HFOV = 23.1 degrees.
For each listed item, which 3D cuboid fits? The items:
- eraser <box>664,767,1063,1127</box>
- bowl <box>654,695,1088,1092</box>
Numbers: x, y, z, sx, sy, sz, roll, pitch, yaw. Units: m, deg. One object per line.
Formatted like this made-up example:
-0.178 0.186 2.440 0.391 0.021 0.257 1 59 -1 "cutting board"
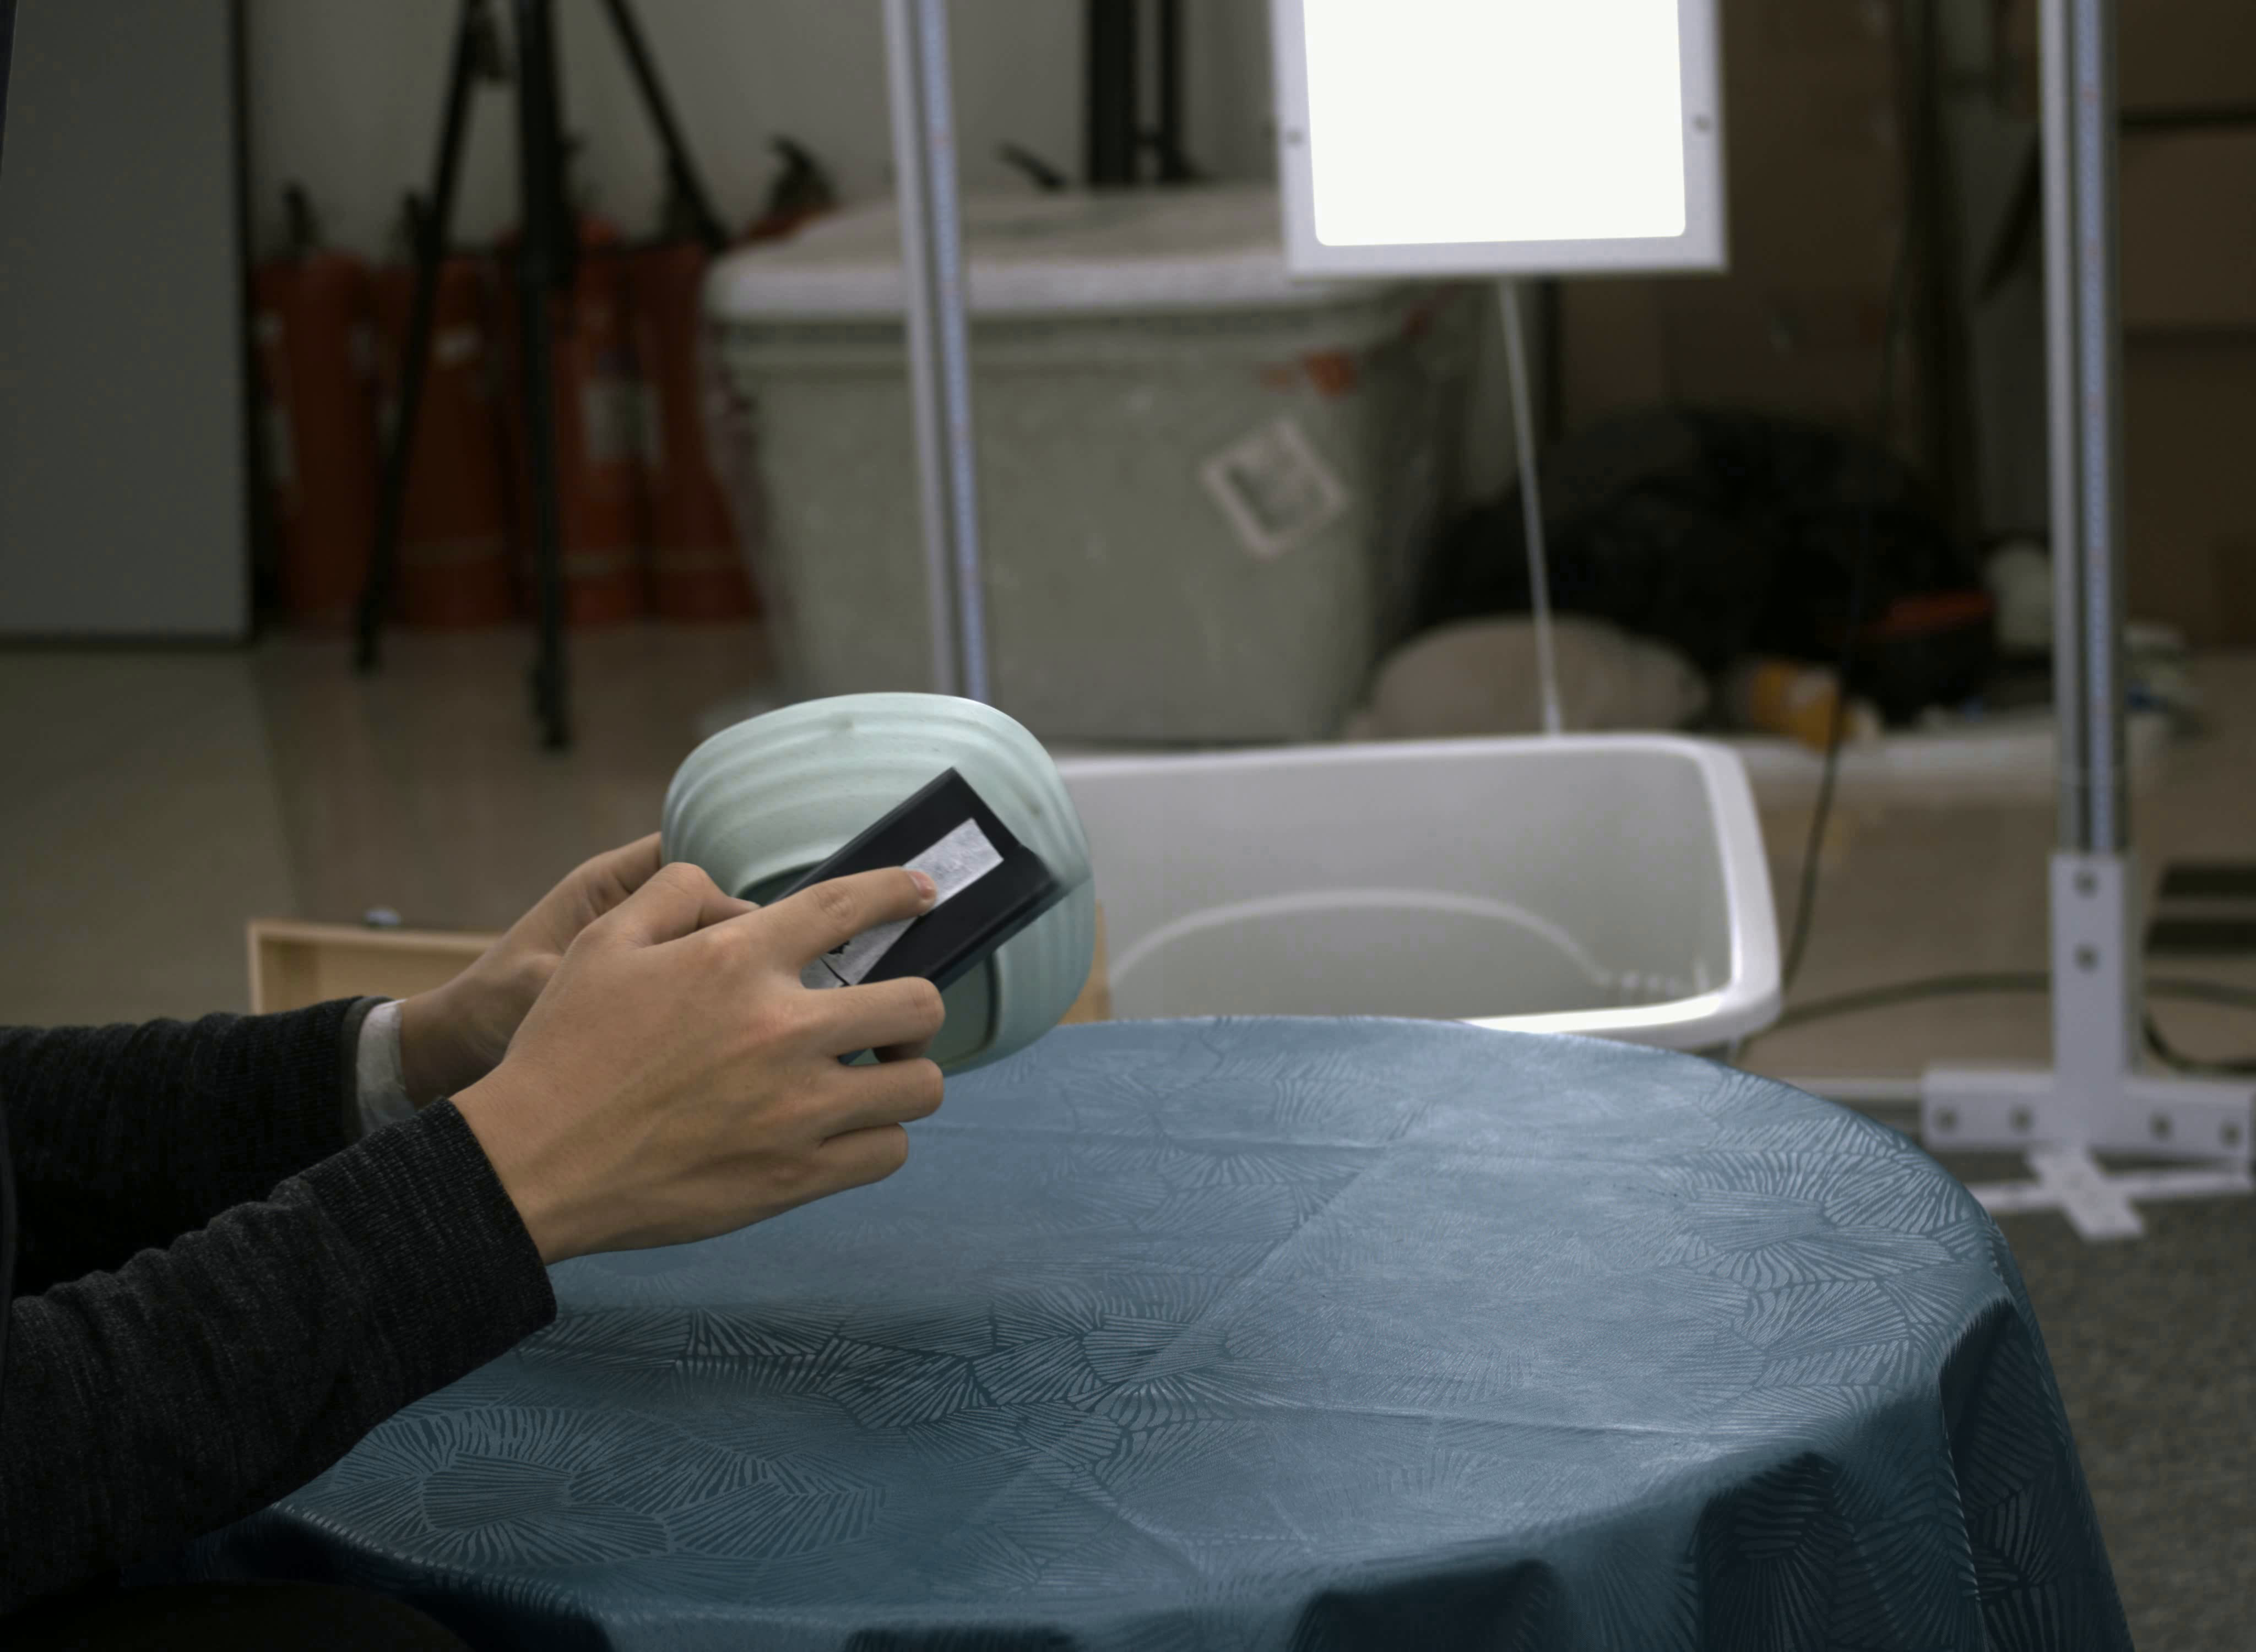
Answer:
-0.080 0.035 1.669 0.123 0.054 0.031 -39 -10 -32 "eraser"
-0.085 0.033 1.753 0.152 0.152 0.058 -2 30 8 "bowl"
